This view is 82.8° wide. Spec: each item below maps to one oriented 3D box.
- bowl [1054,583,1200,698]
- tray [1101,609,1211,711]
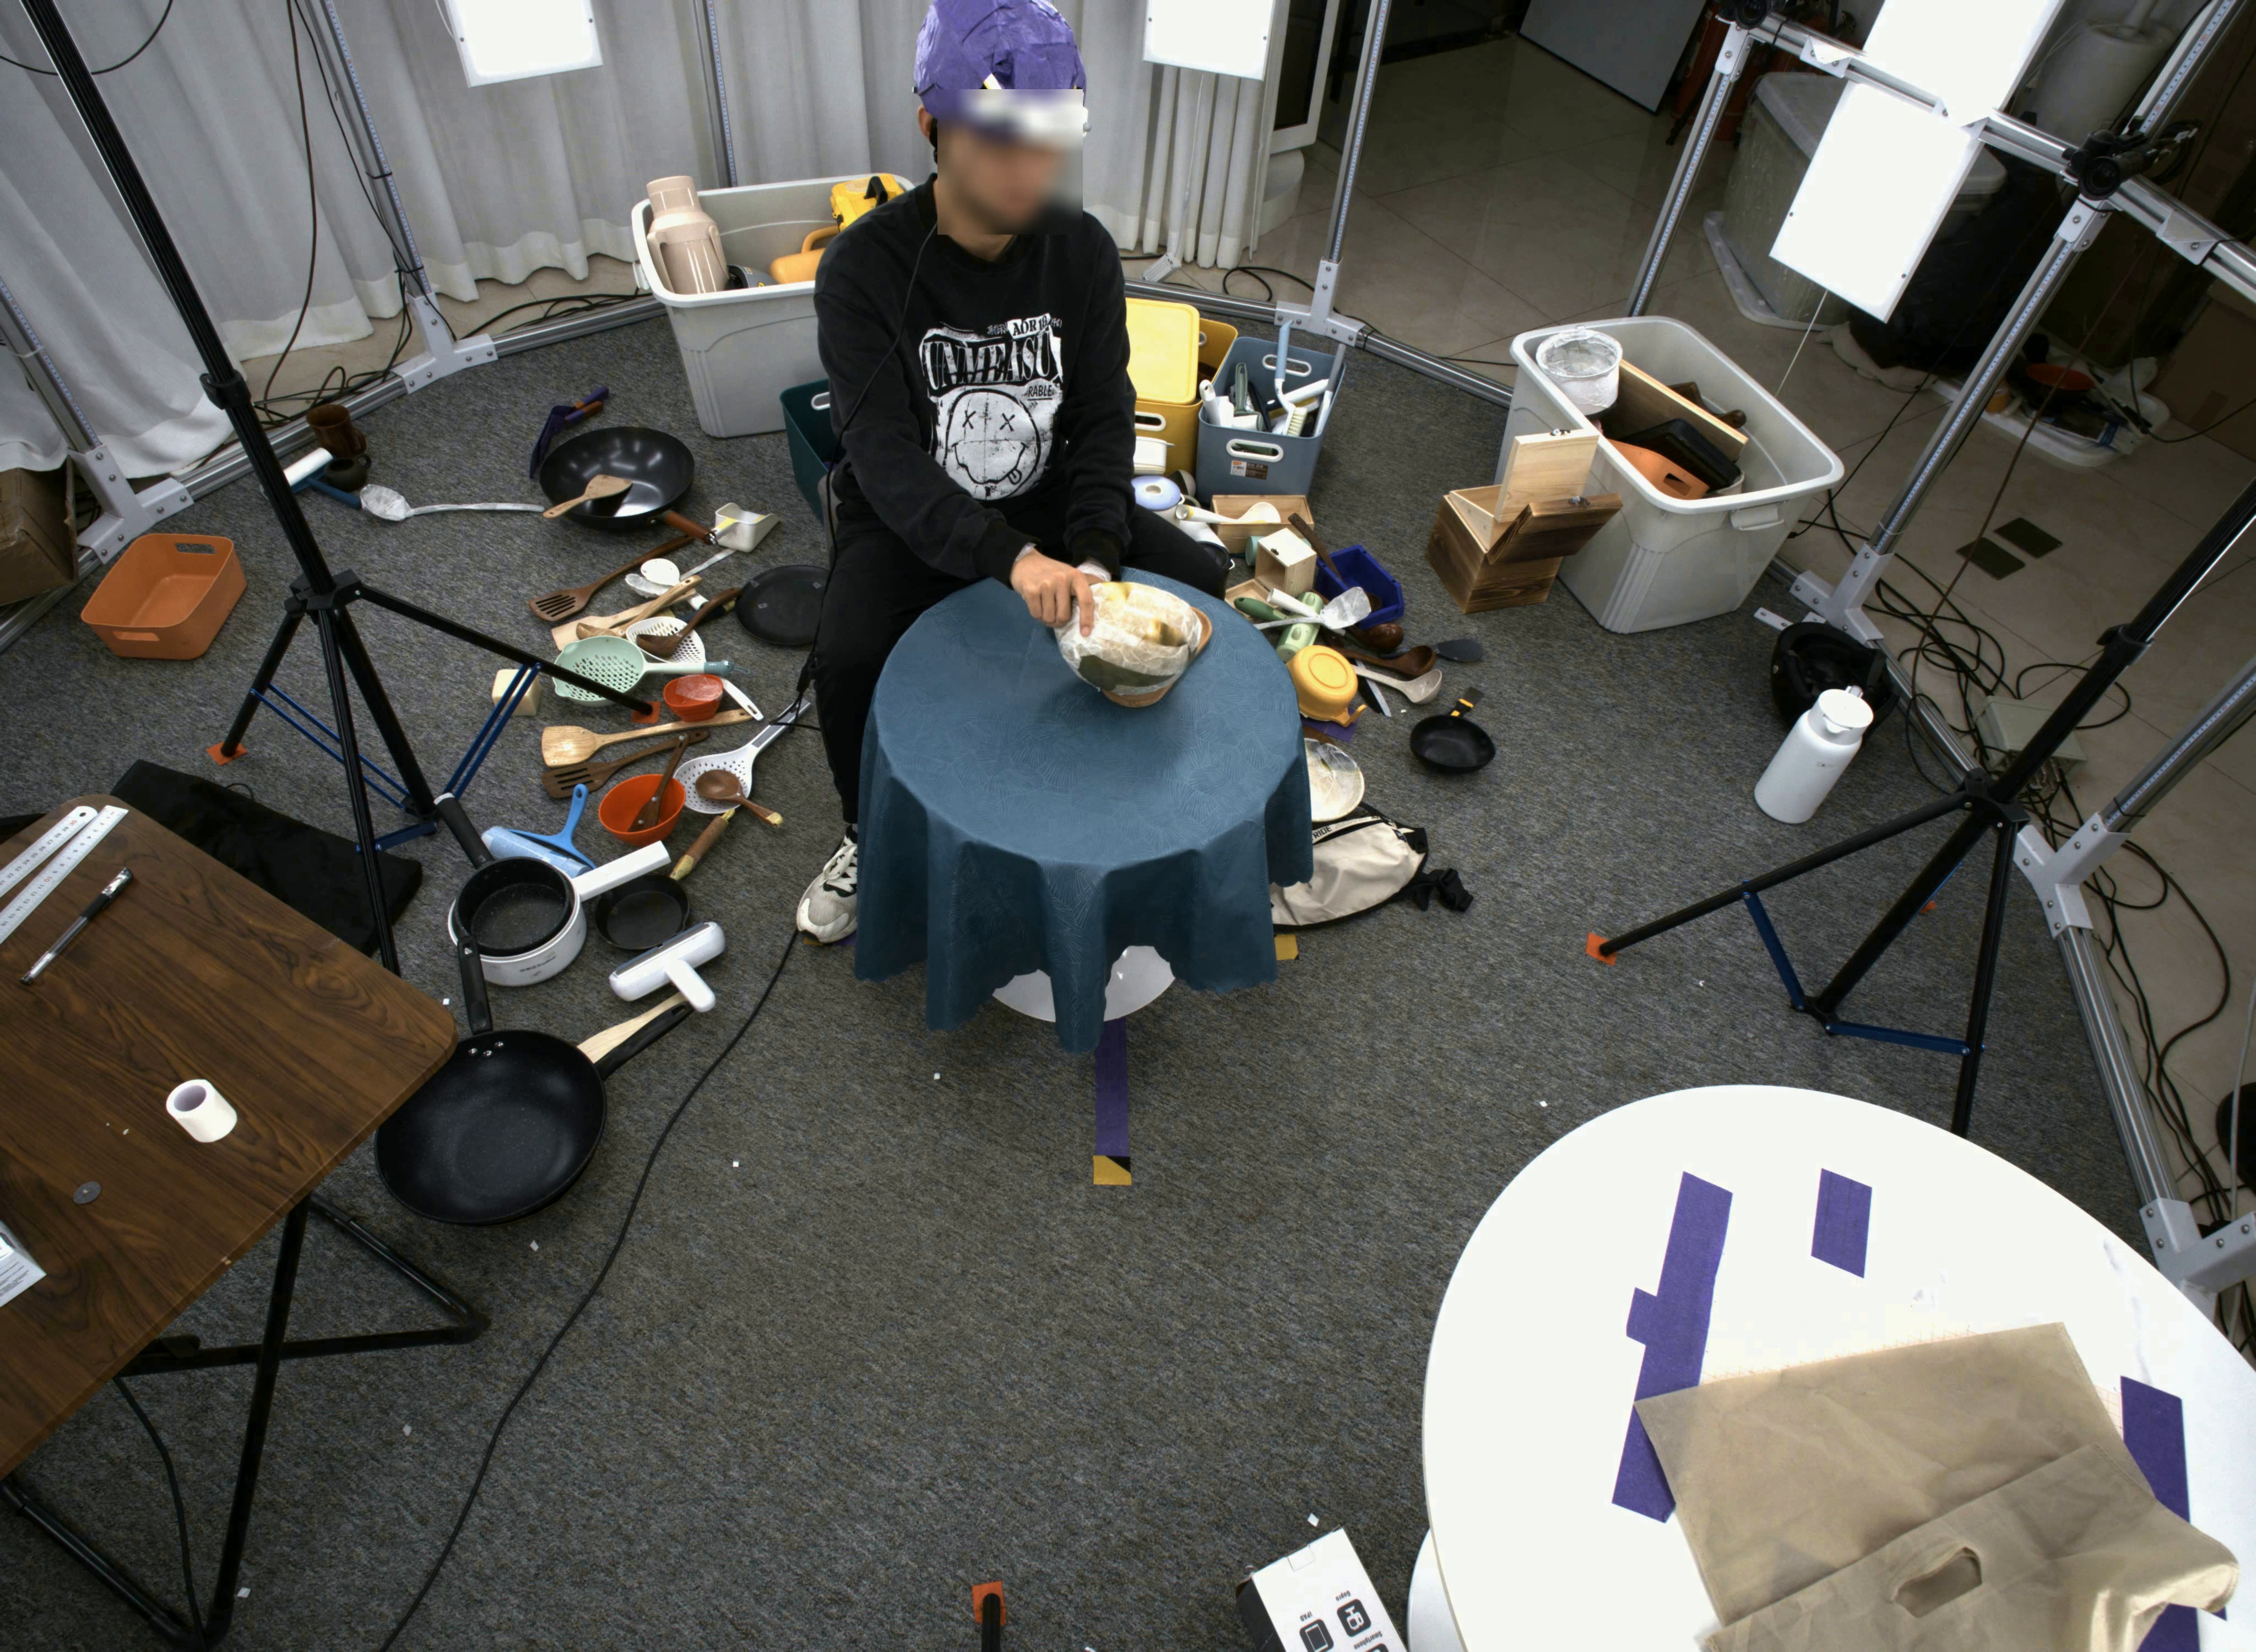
[{"bbox_3d":[-0.008,-0.235,1.760,0.215,0.211,0.096,8,66,2],"label":"bowl"},{"bbox_3d":[0.042,-0.247,1.893,0.102,0.020,0.235,23,53,18],"label":"tray"}]
